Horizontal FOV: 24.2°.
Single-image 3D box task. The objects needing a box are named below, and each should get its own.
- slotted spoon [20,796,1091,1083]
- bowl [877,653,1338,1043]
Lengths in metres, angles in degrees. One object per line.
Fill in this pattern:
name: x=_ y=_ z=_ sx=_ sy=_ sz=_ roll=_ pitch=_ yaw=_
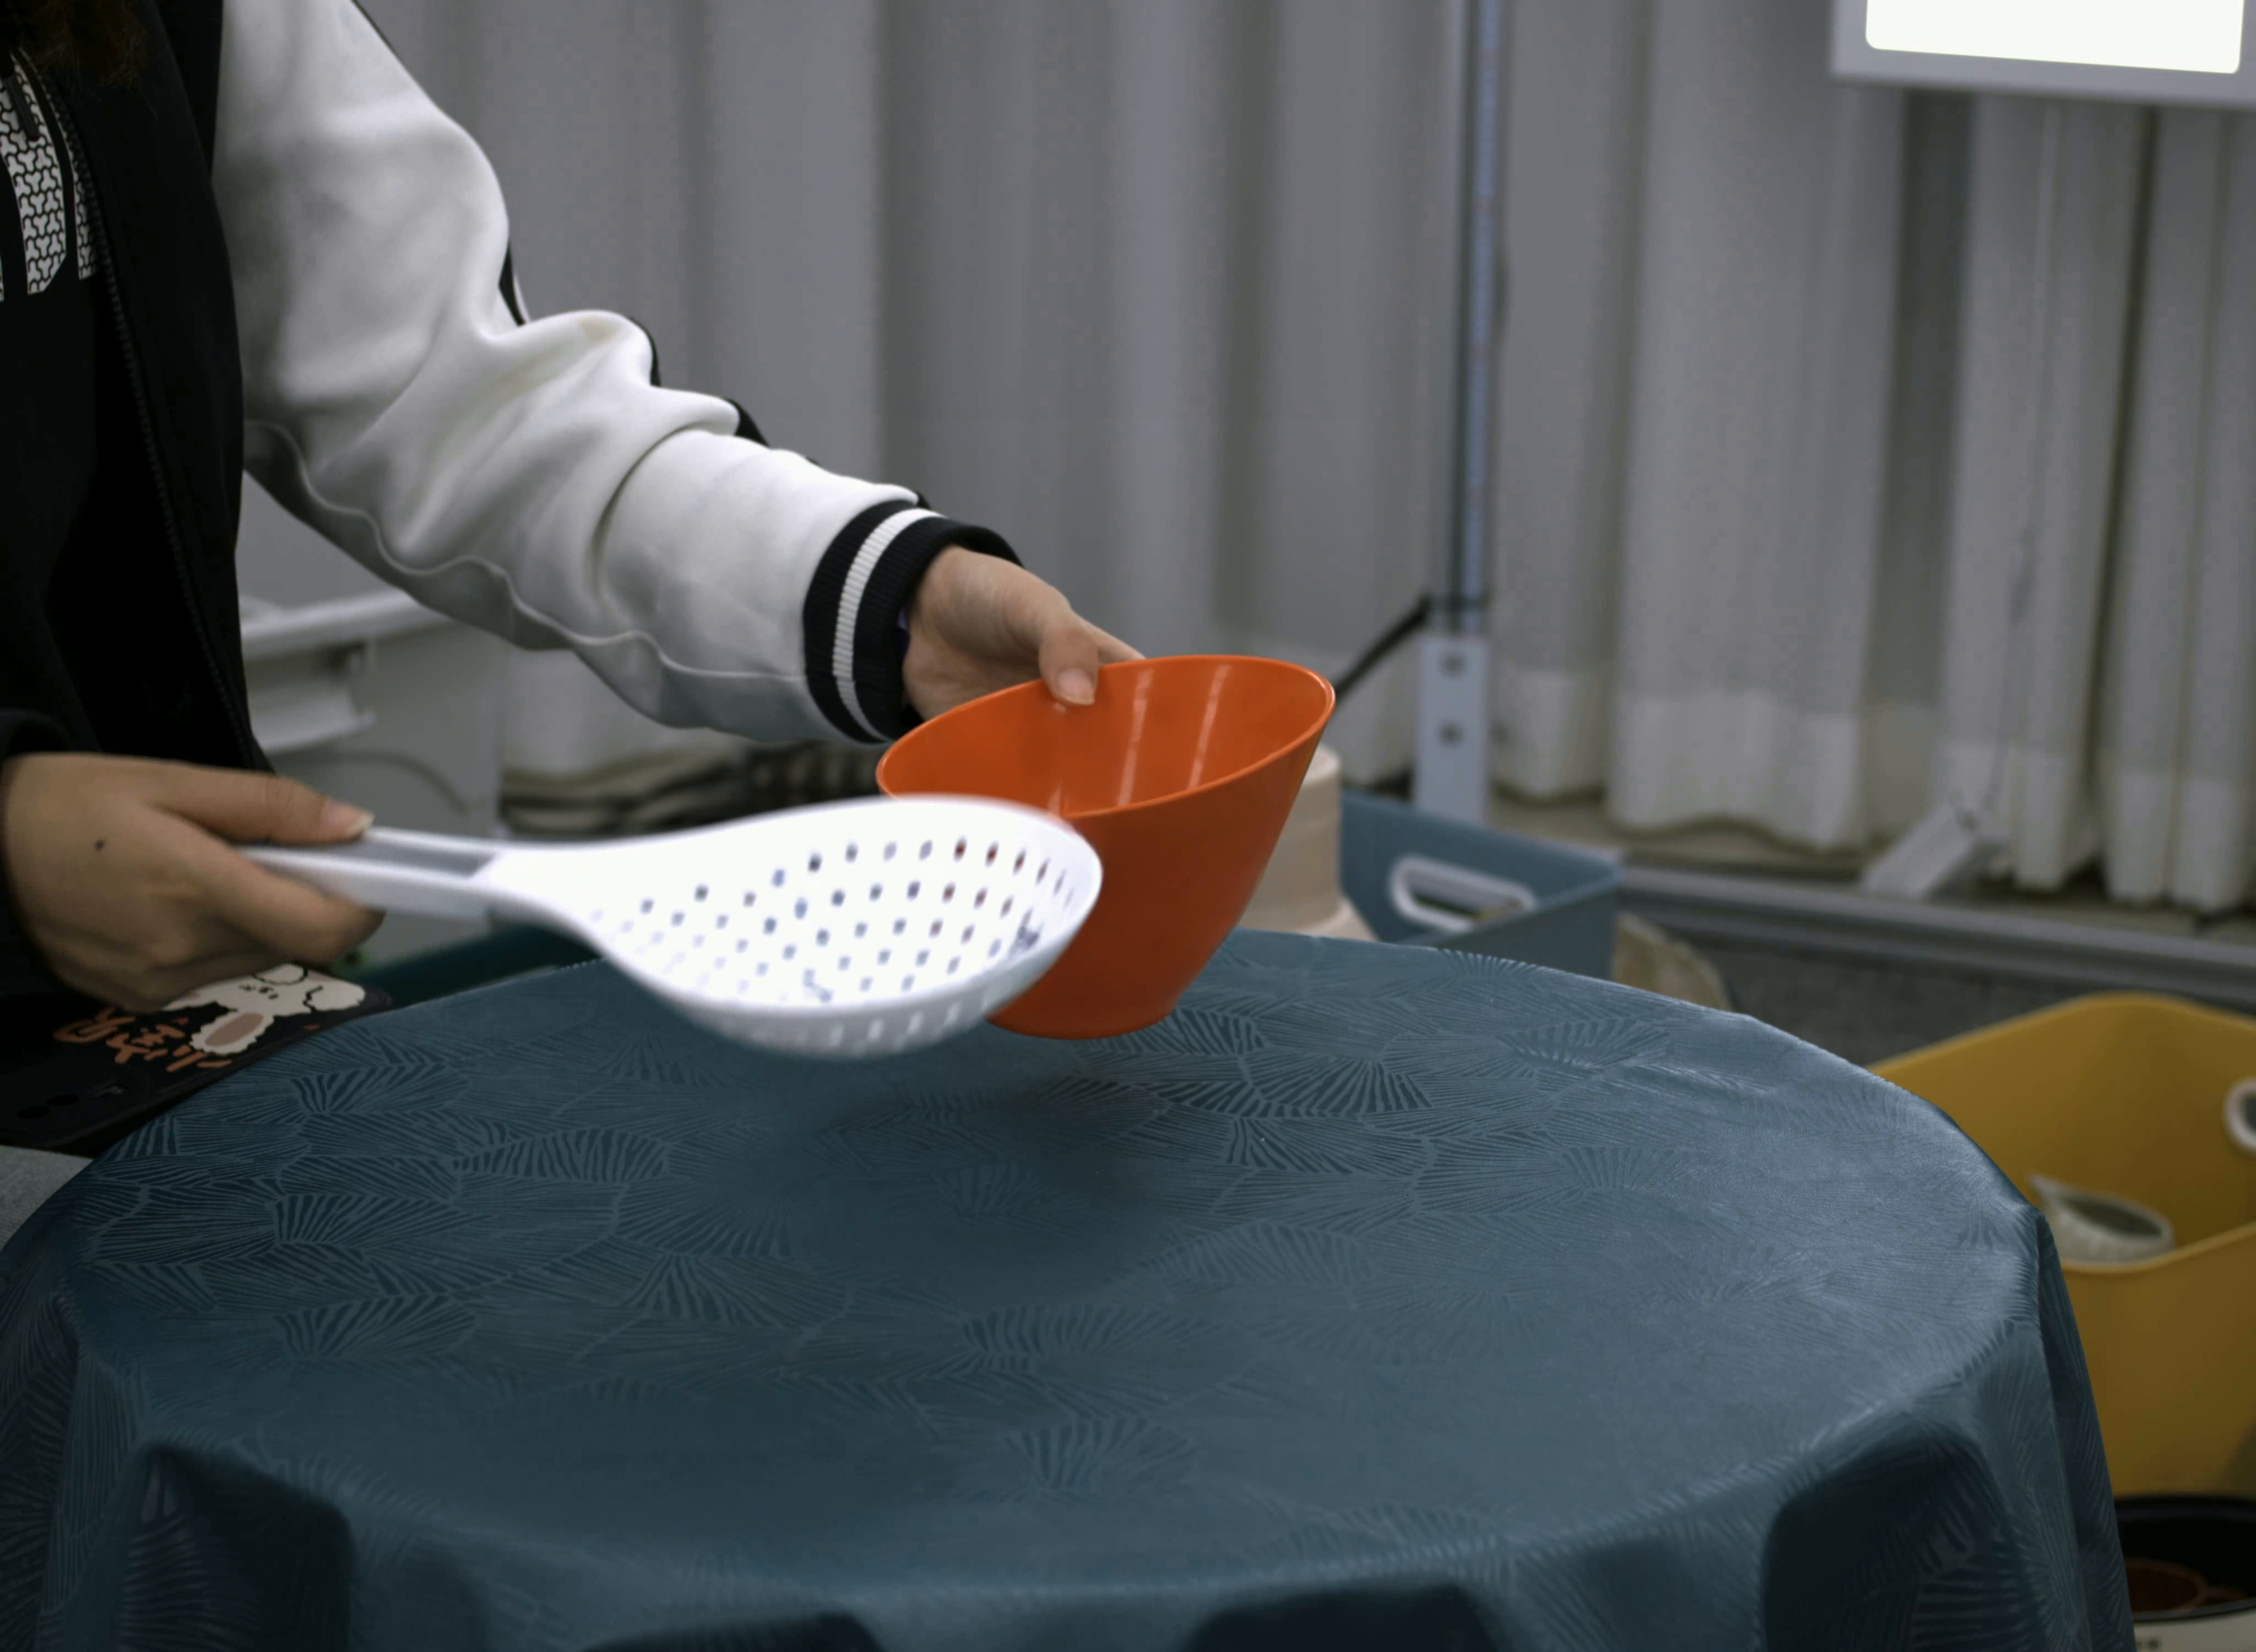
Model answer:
slotted spoon: x=-0.173 y=0.022 z=1.508 sx=0.346 sy=0.046 sz=0.136 roll=12 pitch=29 yaw=23
bowl: x=-0.006 y=0.010 z=1.684 sx=0.147 sy=0.105 sz=0.147 roll=0 pitch=22 yaw=1
